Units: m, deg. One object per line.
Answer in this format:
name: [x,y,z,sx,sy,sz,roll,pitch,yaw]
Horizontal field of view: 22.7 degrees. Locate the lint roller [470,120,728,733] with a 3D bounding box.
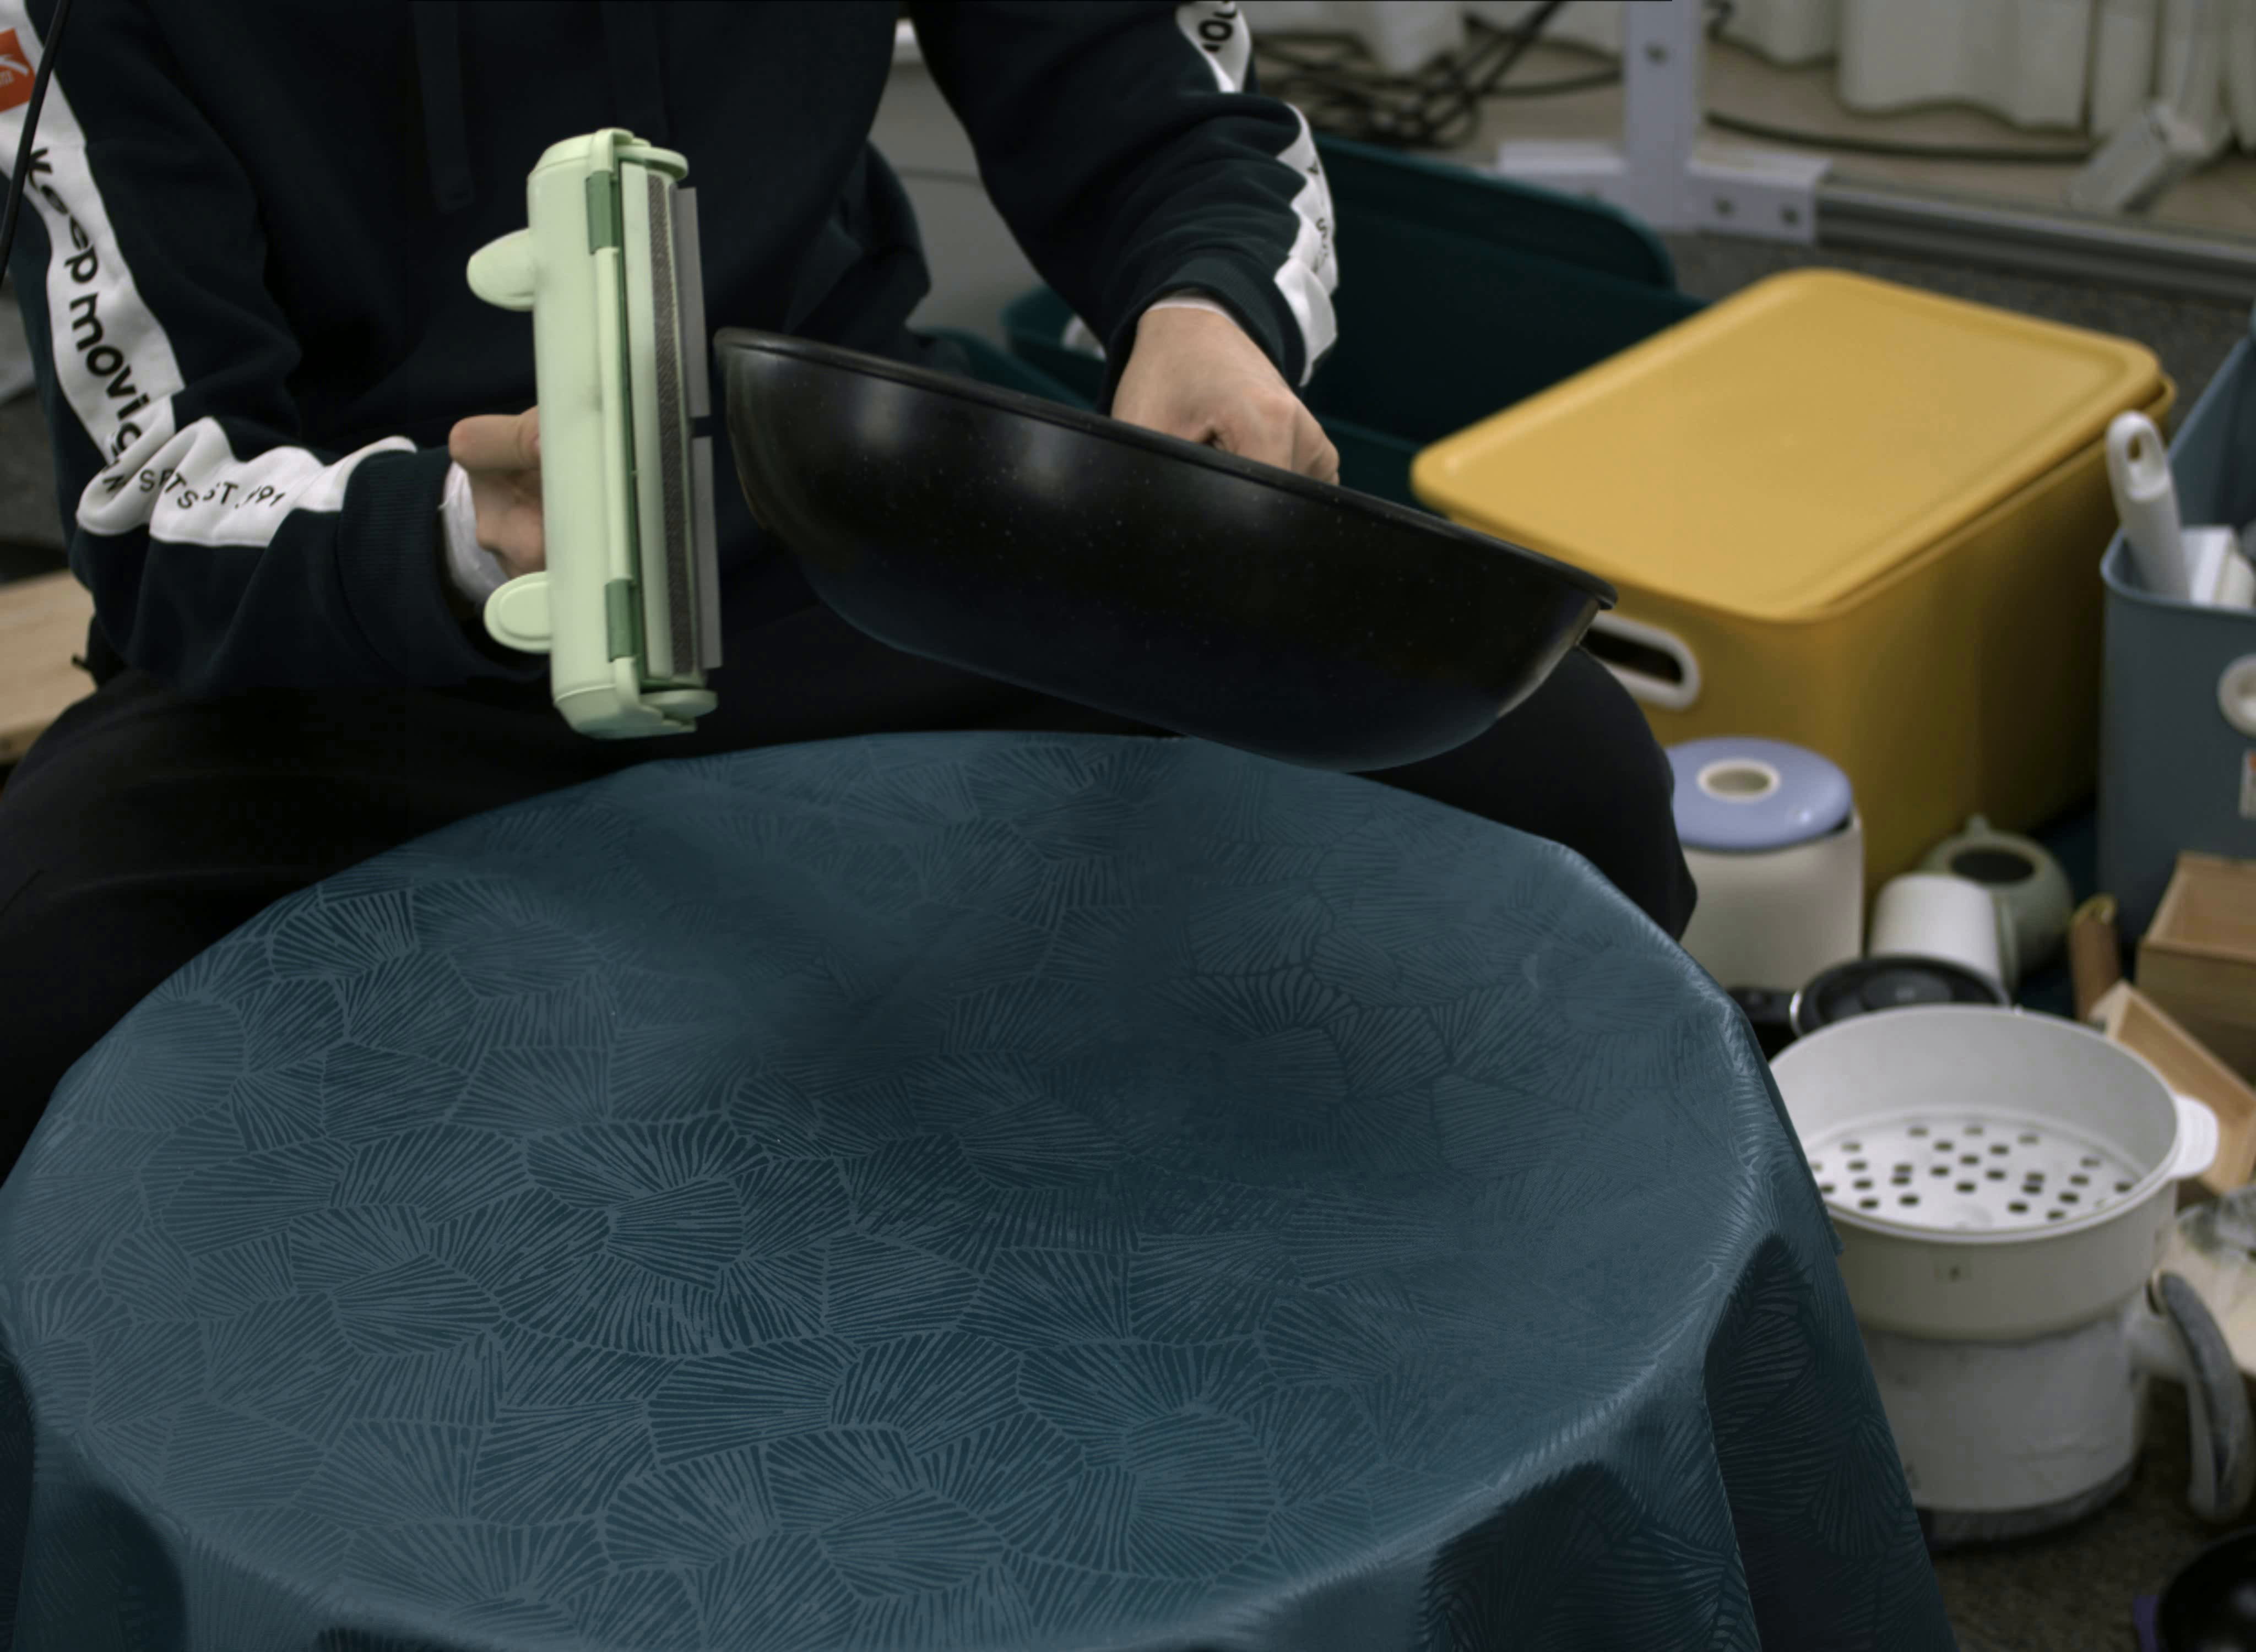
lint roller: [-0.186,-0.121,1.904,0.082,0.200,0.181,-1,-9,-17]

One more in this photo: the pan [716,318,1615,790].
pan: [0.010,-0.089,1.926,0.309,0.112,0.477,18,1,3]
